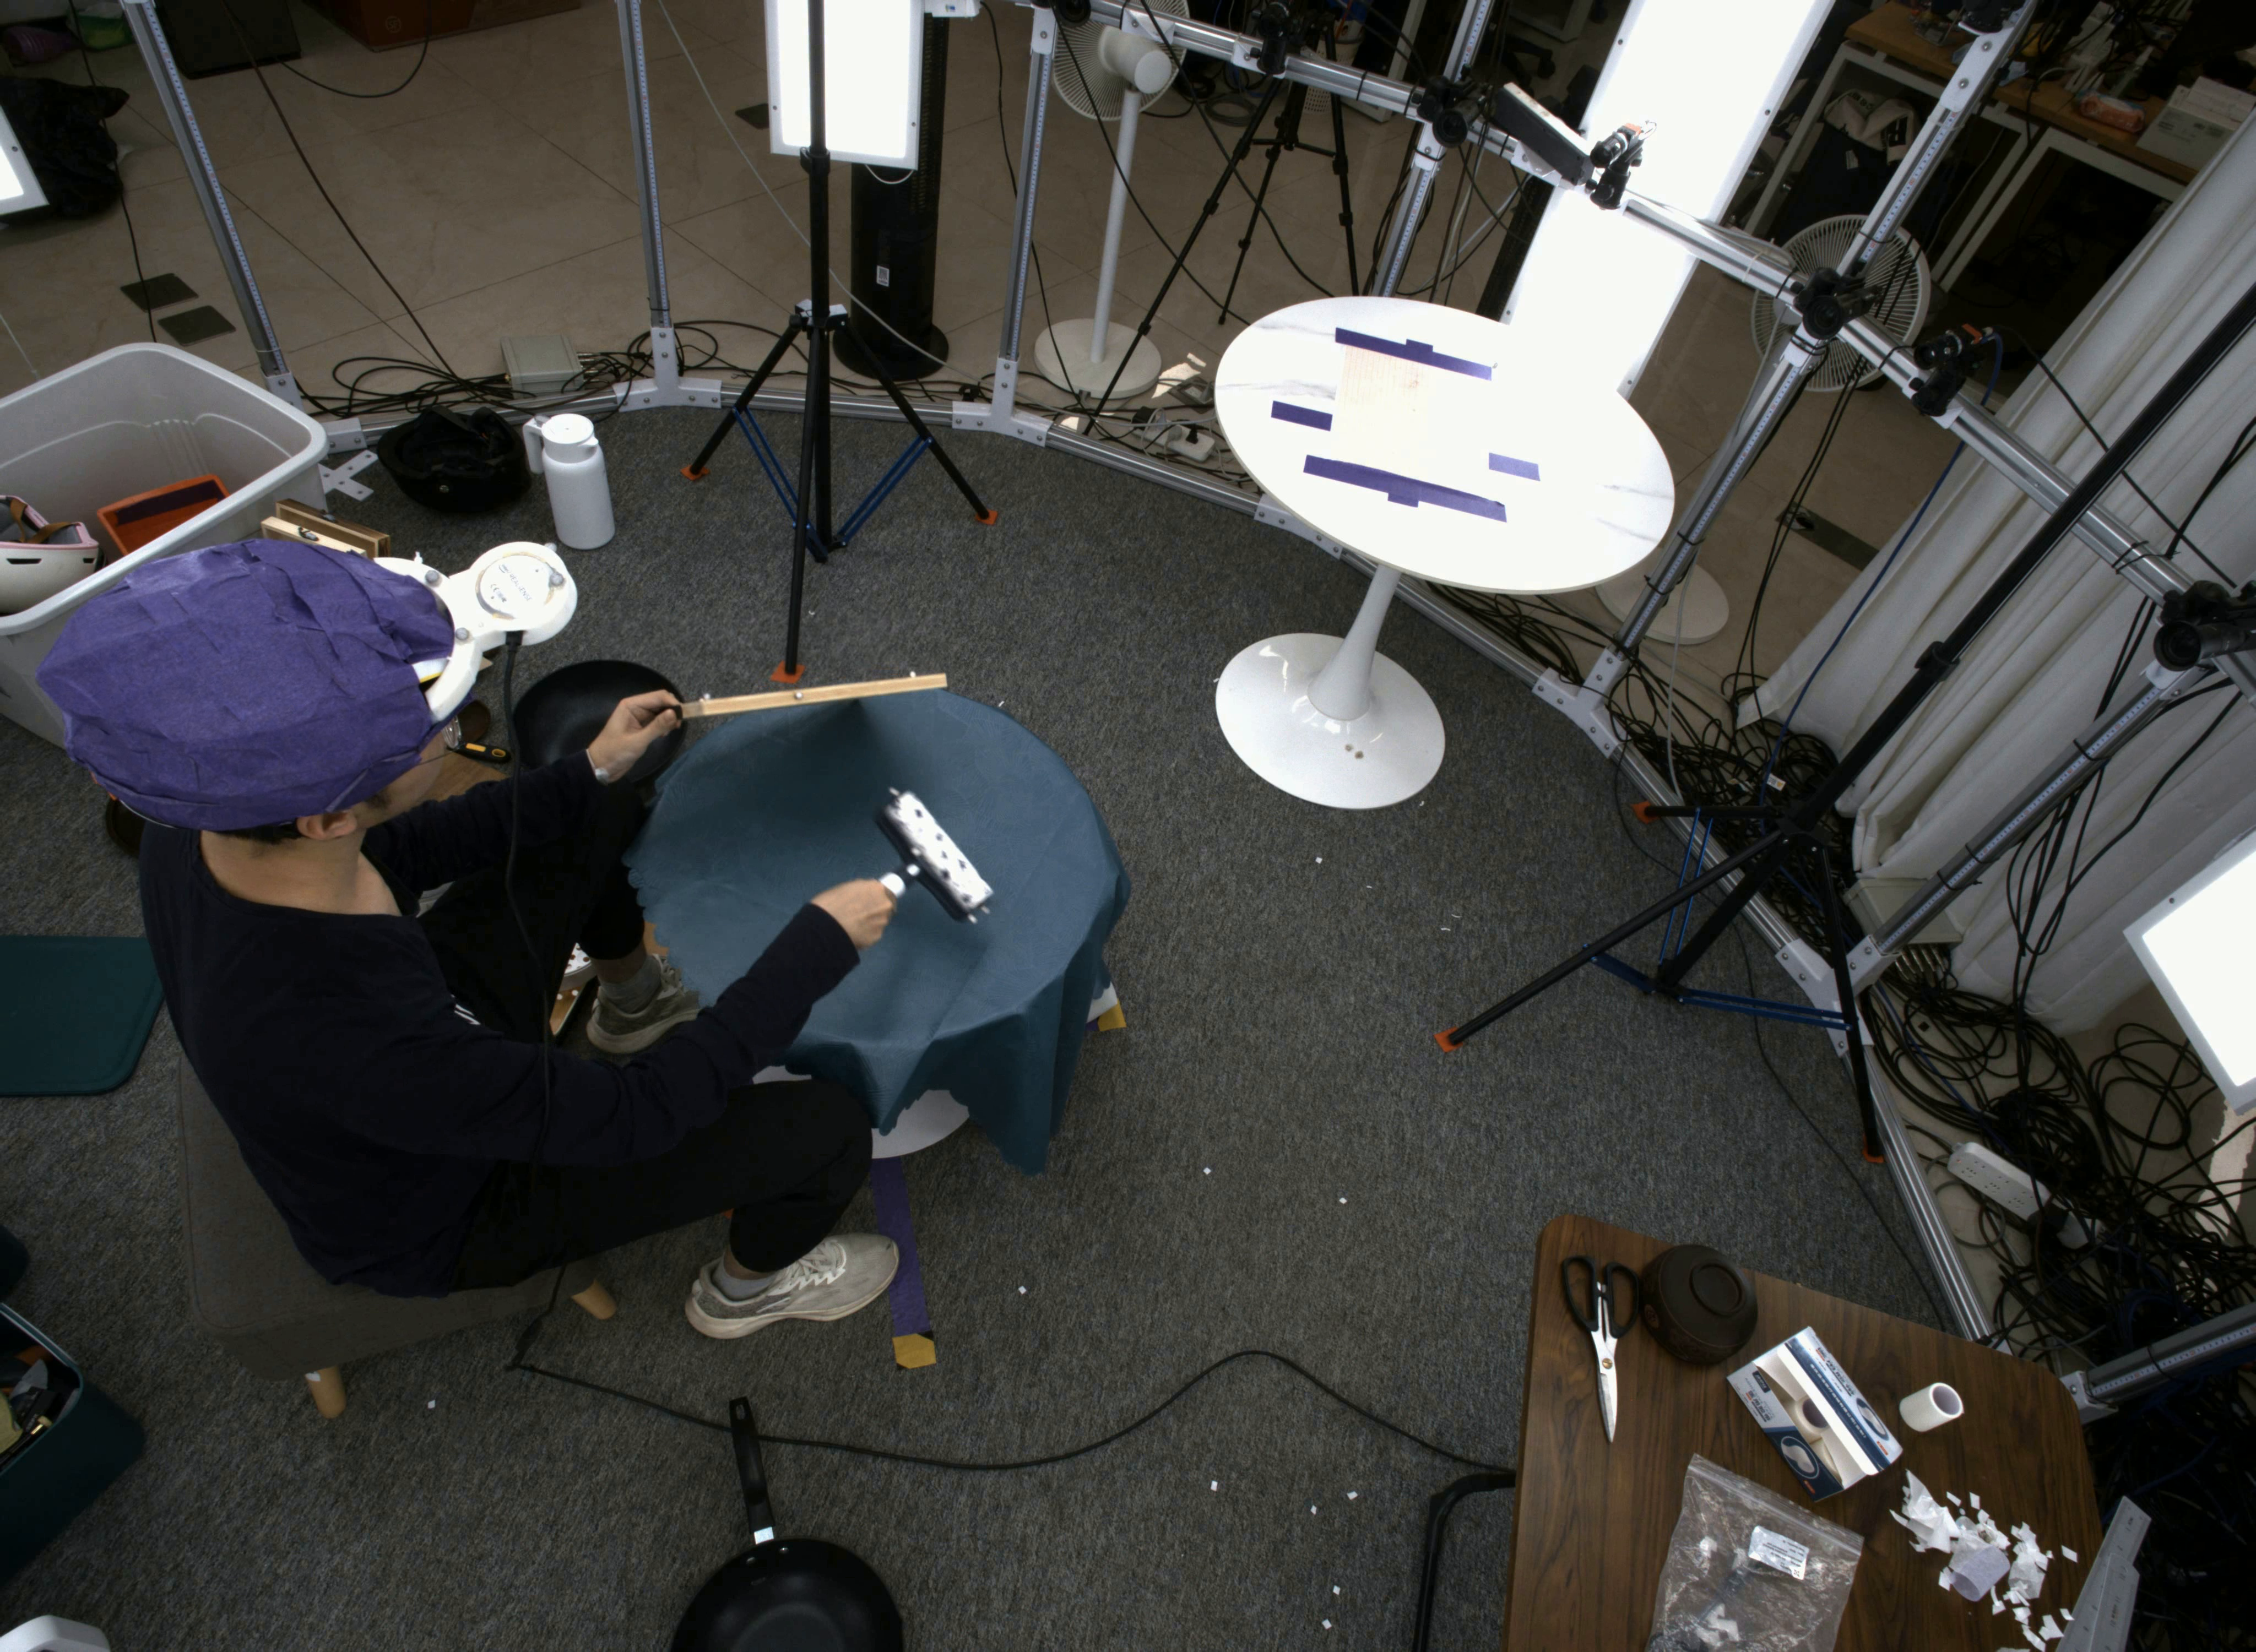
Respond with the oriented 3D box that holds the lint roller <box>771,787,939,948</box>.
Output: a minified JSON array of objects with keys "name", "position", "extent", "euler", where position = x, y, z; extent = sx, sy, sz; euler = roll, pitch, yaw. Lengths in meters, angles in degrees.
[{"name":"lint roller","position":[-0.339,0.069,1.533],"extent":[0.179,0.050,0.246],"euler":[50,32,-8]}]

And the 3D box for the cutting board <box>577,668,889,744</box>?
[{"name":"cutting board","position":[-0.510,-0.156,1.652],"extent":[0.353,0.243,0.024],"euler":[-15,97,-43]}]
